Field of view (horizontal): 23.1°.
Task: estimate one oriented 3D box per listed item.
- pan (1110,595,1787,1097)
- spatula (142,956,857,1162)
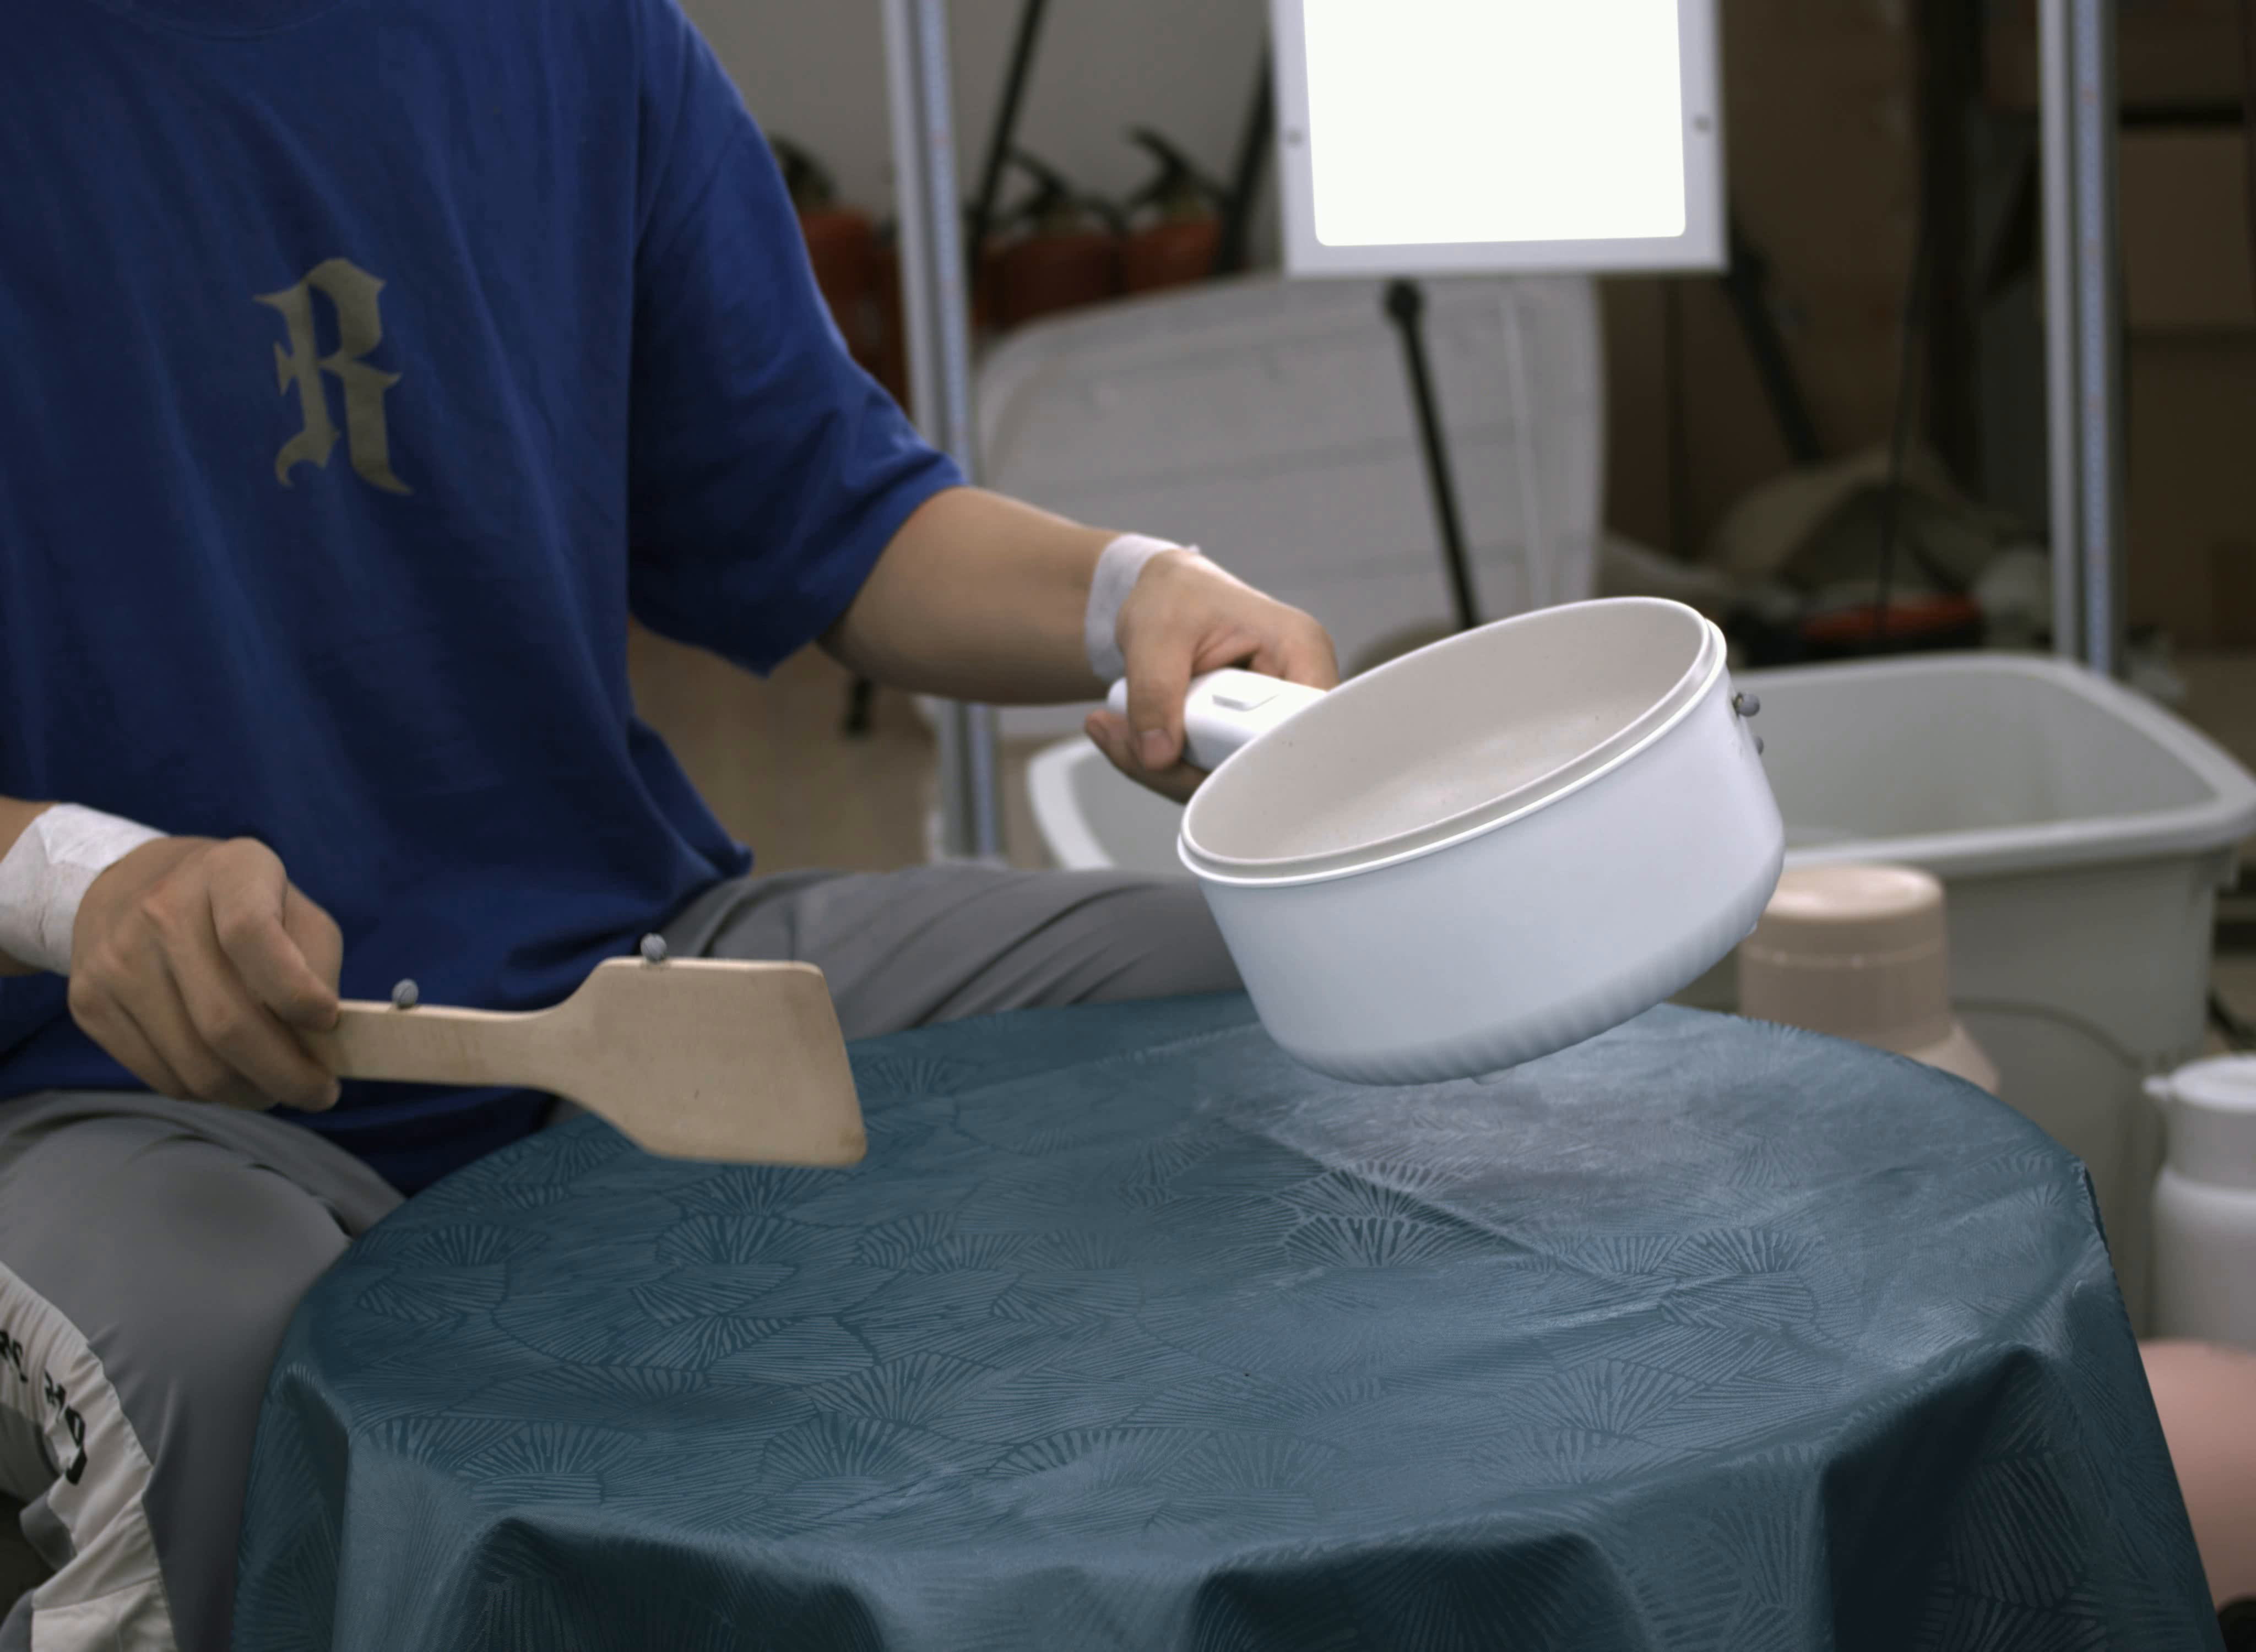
[{"bbox_3d":[0.096,0.002,1.966,0.198,0.102,0.360,-32,19,-17],"label":"pan"},{"bbox_3d":[-0.213,0.069,1.794,0.299,0.072,0.010,2,28,36],"label":"spatula"}]
